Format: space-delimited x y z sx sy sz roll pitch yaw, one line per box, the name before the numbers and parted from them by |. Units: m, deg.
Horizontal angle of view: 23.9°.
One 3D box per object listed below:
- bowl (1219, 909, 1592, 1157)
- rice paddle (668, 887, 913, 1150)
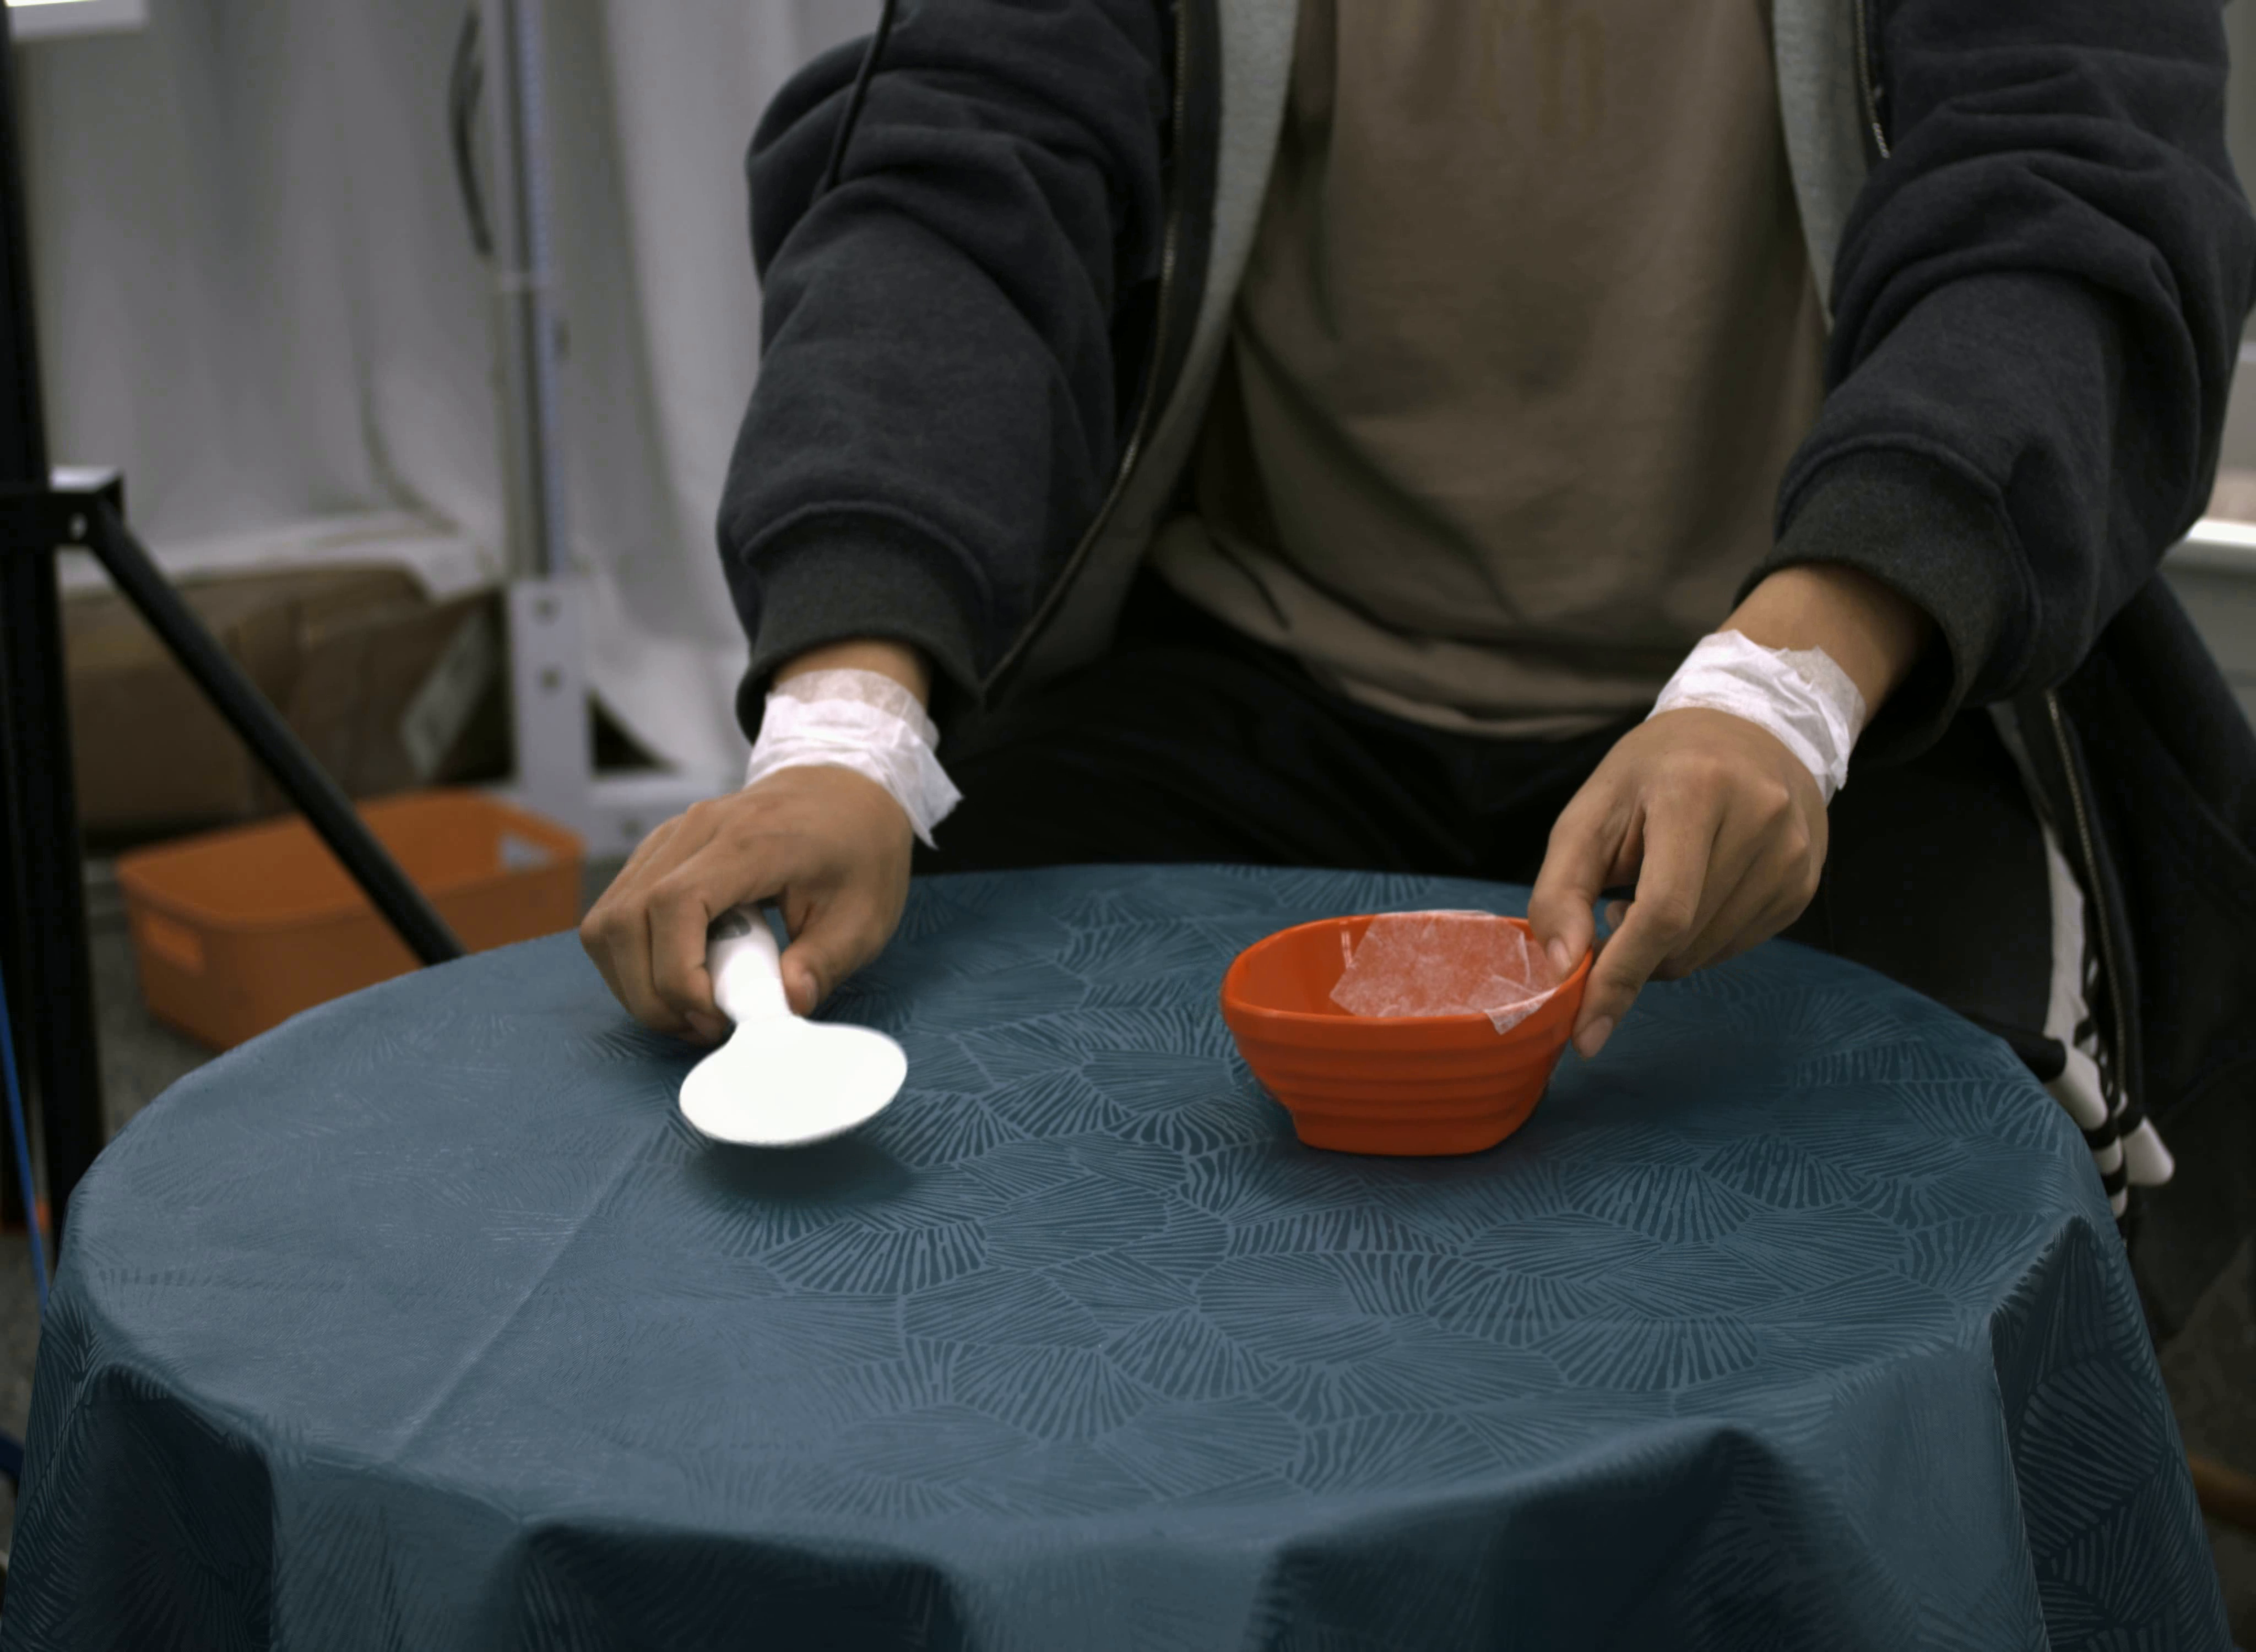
bowl | 0.085 0.065 1.600 0.118 0.051 0.119 -4 16 0
rice paddle | -0.112 0.061 1.655 0.068 0.029 0.208 -15 19 -9
